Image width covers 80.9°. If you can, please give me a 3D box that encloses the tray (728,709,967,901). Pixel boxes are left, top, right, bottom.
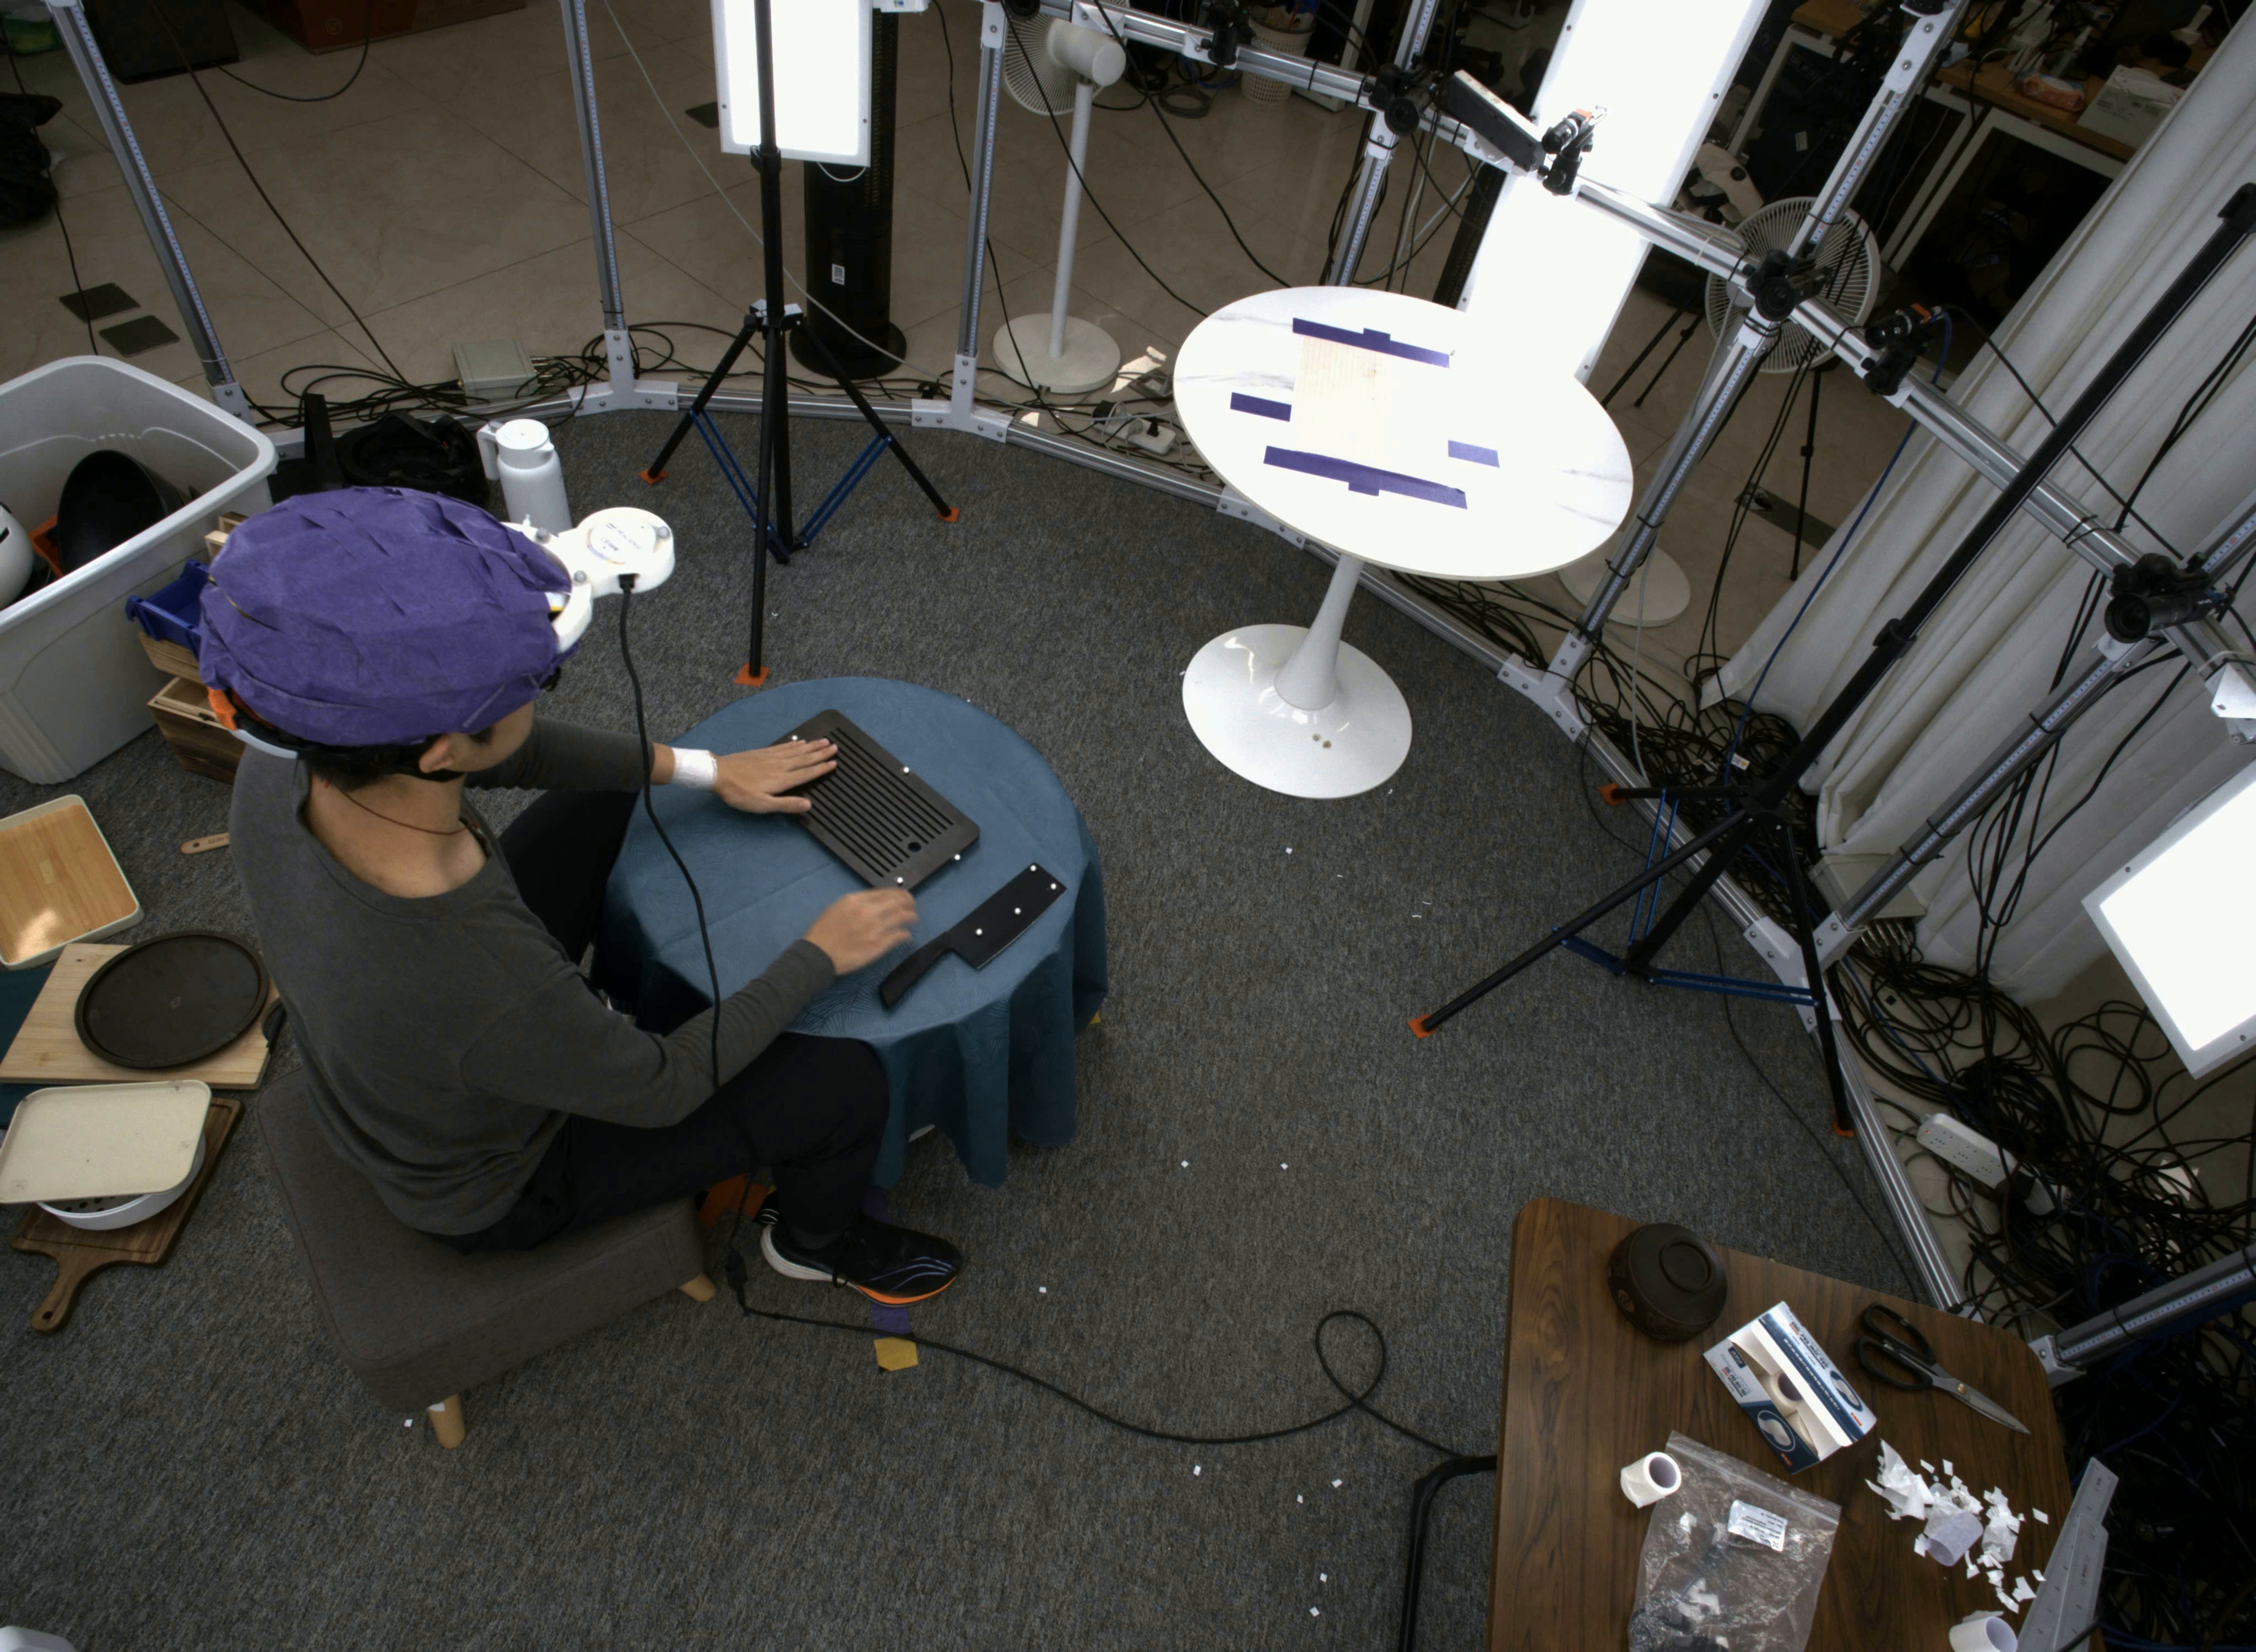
[{"bbox_3d":[-0.380,-0.033,1.759,0.299,0.019,0.170,38,55,15],"label":"tray"}]

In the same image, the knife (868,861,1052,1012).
[{"bbox_3d":[-0.215,0.141,1.676,0.079,0.021,0.303,41,53,17],"label":"knife"}]
